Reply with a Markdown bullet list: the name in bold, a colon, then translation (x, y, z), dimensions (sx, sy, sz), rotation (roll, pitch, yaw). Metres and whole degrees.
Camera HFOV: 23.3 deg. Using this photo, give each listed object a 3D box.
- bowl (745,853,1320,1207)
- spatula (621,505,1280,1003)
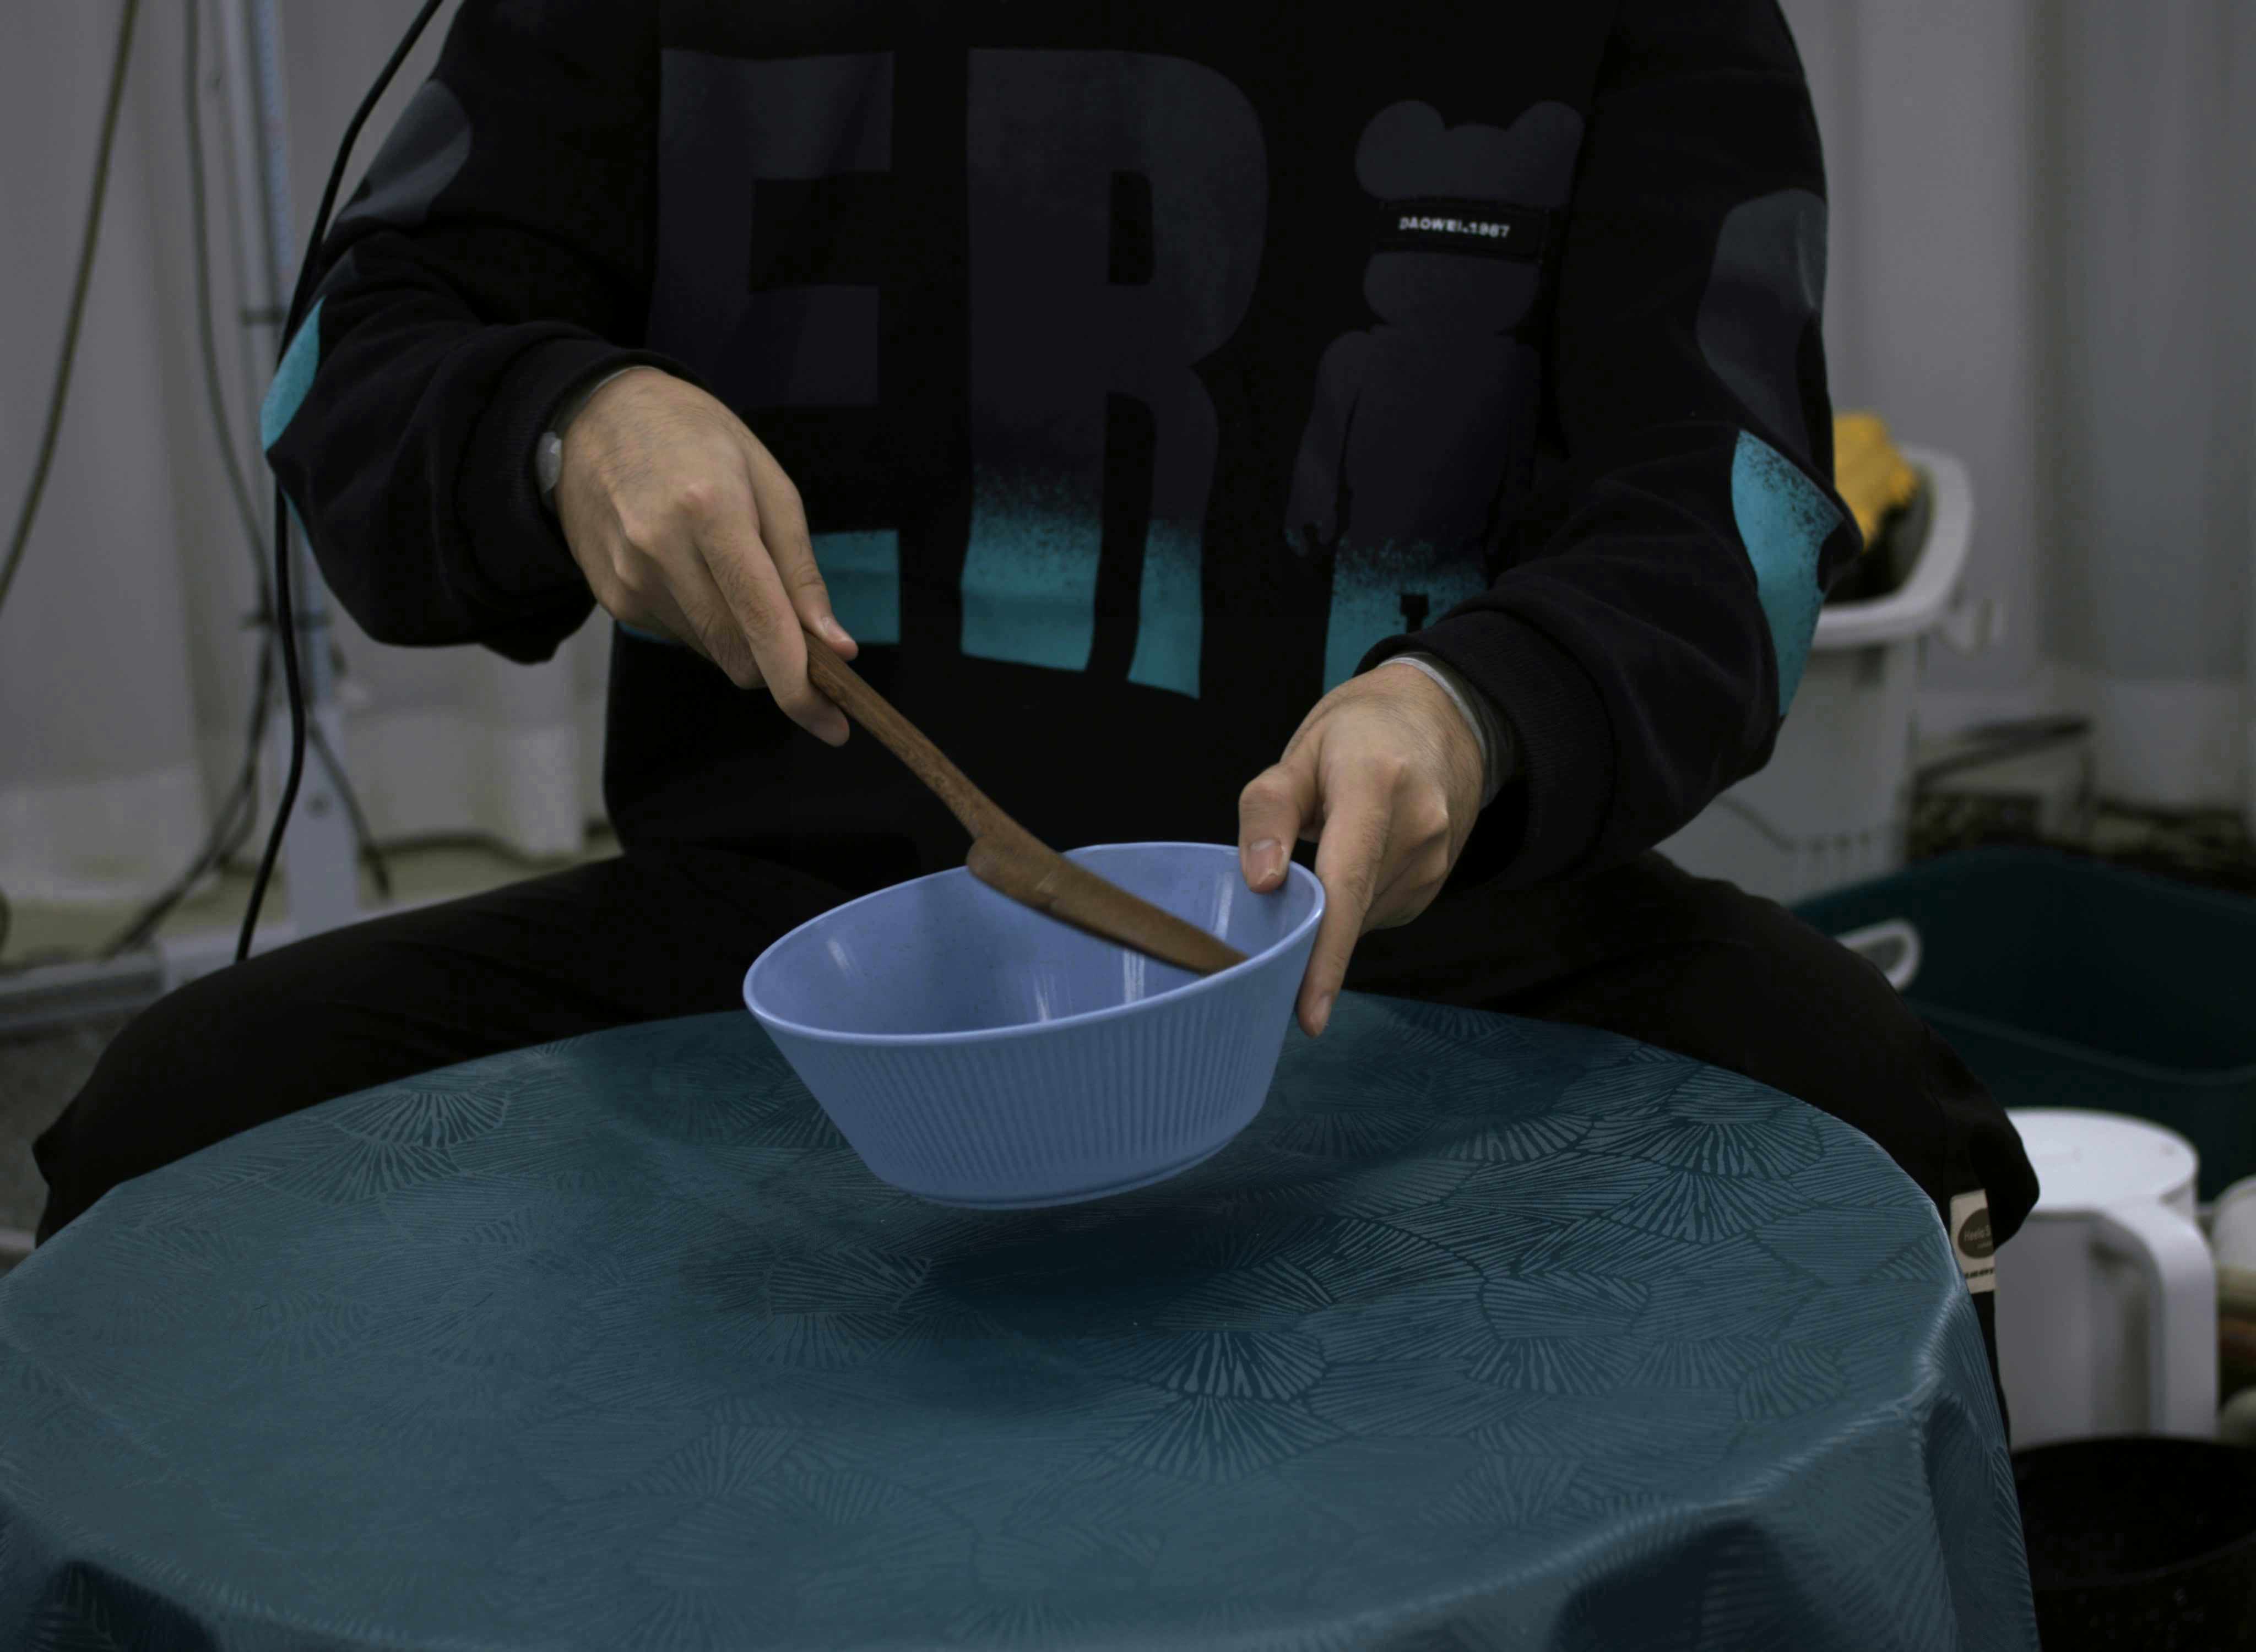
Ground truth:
- **bowl**: translation (-0.024, 0.064, 1.641), dimensions (0.175, 0.070, 0.177), rotation (-8, 14, 2)
- **spatula**: translation (-0.076, -0.030, 1.739), dimensions (0.095, 0.016, 0.390), rotation (20, 13, -37)
